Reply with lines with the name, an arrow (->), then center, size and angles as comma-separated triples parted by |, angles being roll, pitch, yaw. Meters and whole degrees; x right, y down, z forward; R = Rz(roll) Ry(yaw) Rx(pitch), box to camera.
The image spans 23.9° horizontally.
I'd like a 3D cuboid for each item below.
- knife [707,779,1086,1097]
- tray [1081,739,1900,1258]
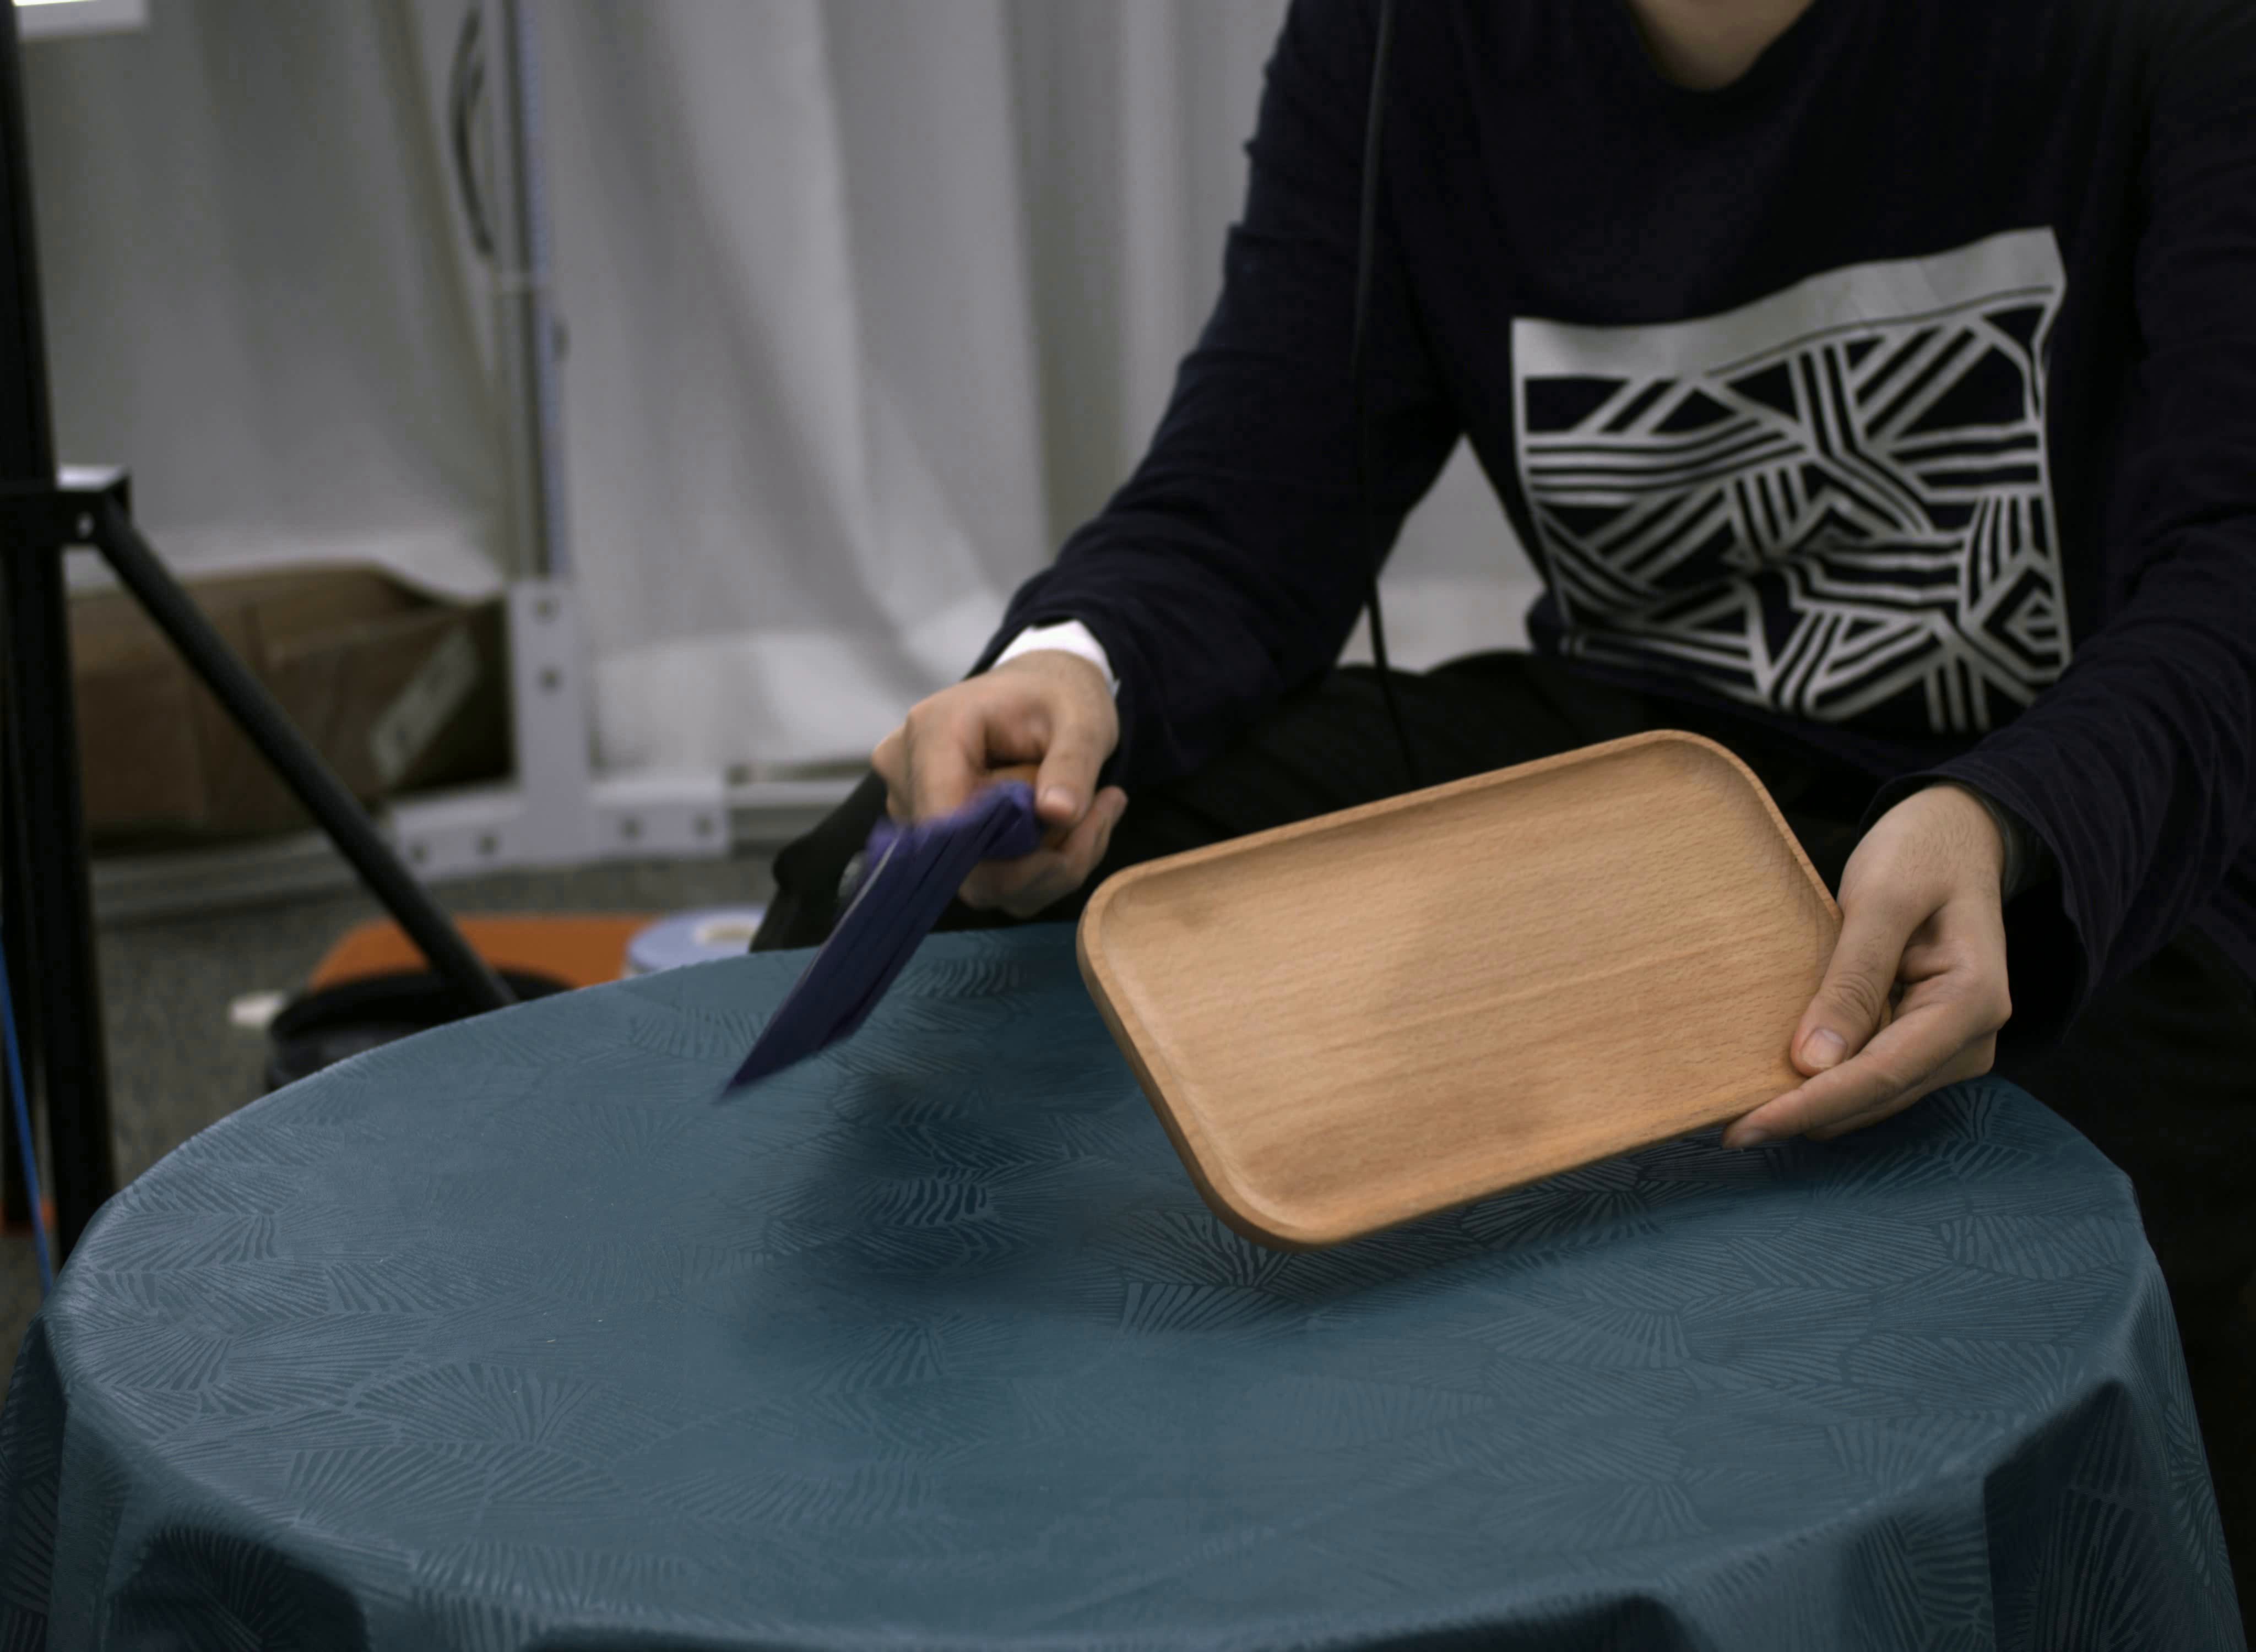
knife -> -0.072, 0.032, 1.631 | 0.032, 0.104, 0.312 | 37, 9, 7
tray -> 0.107, 0.048, 1.536 | 0.245, 0.132, 0.023 | -12, -26, -31
